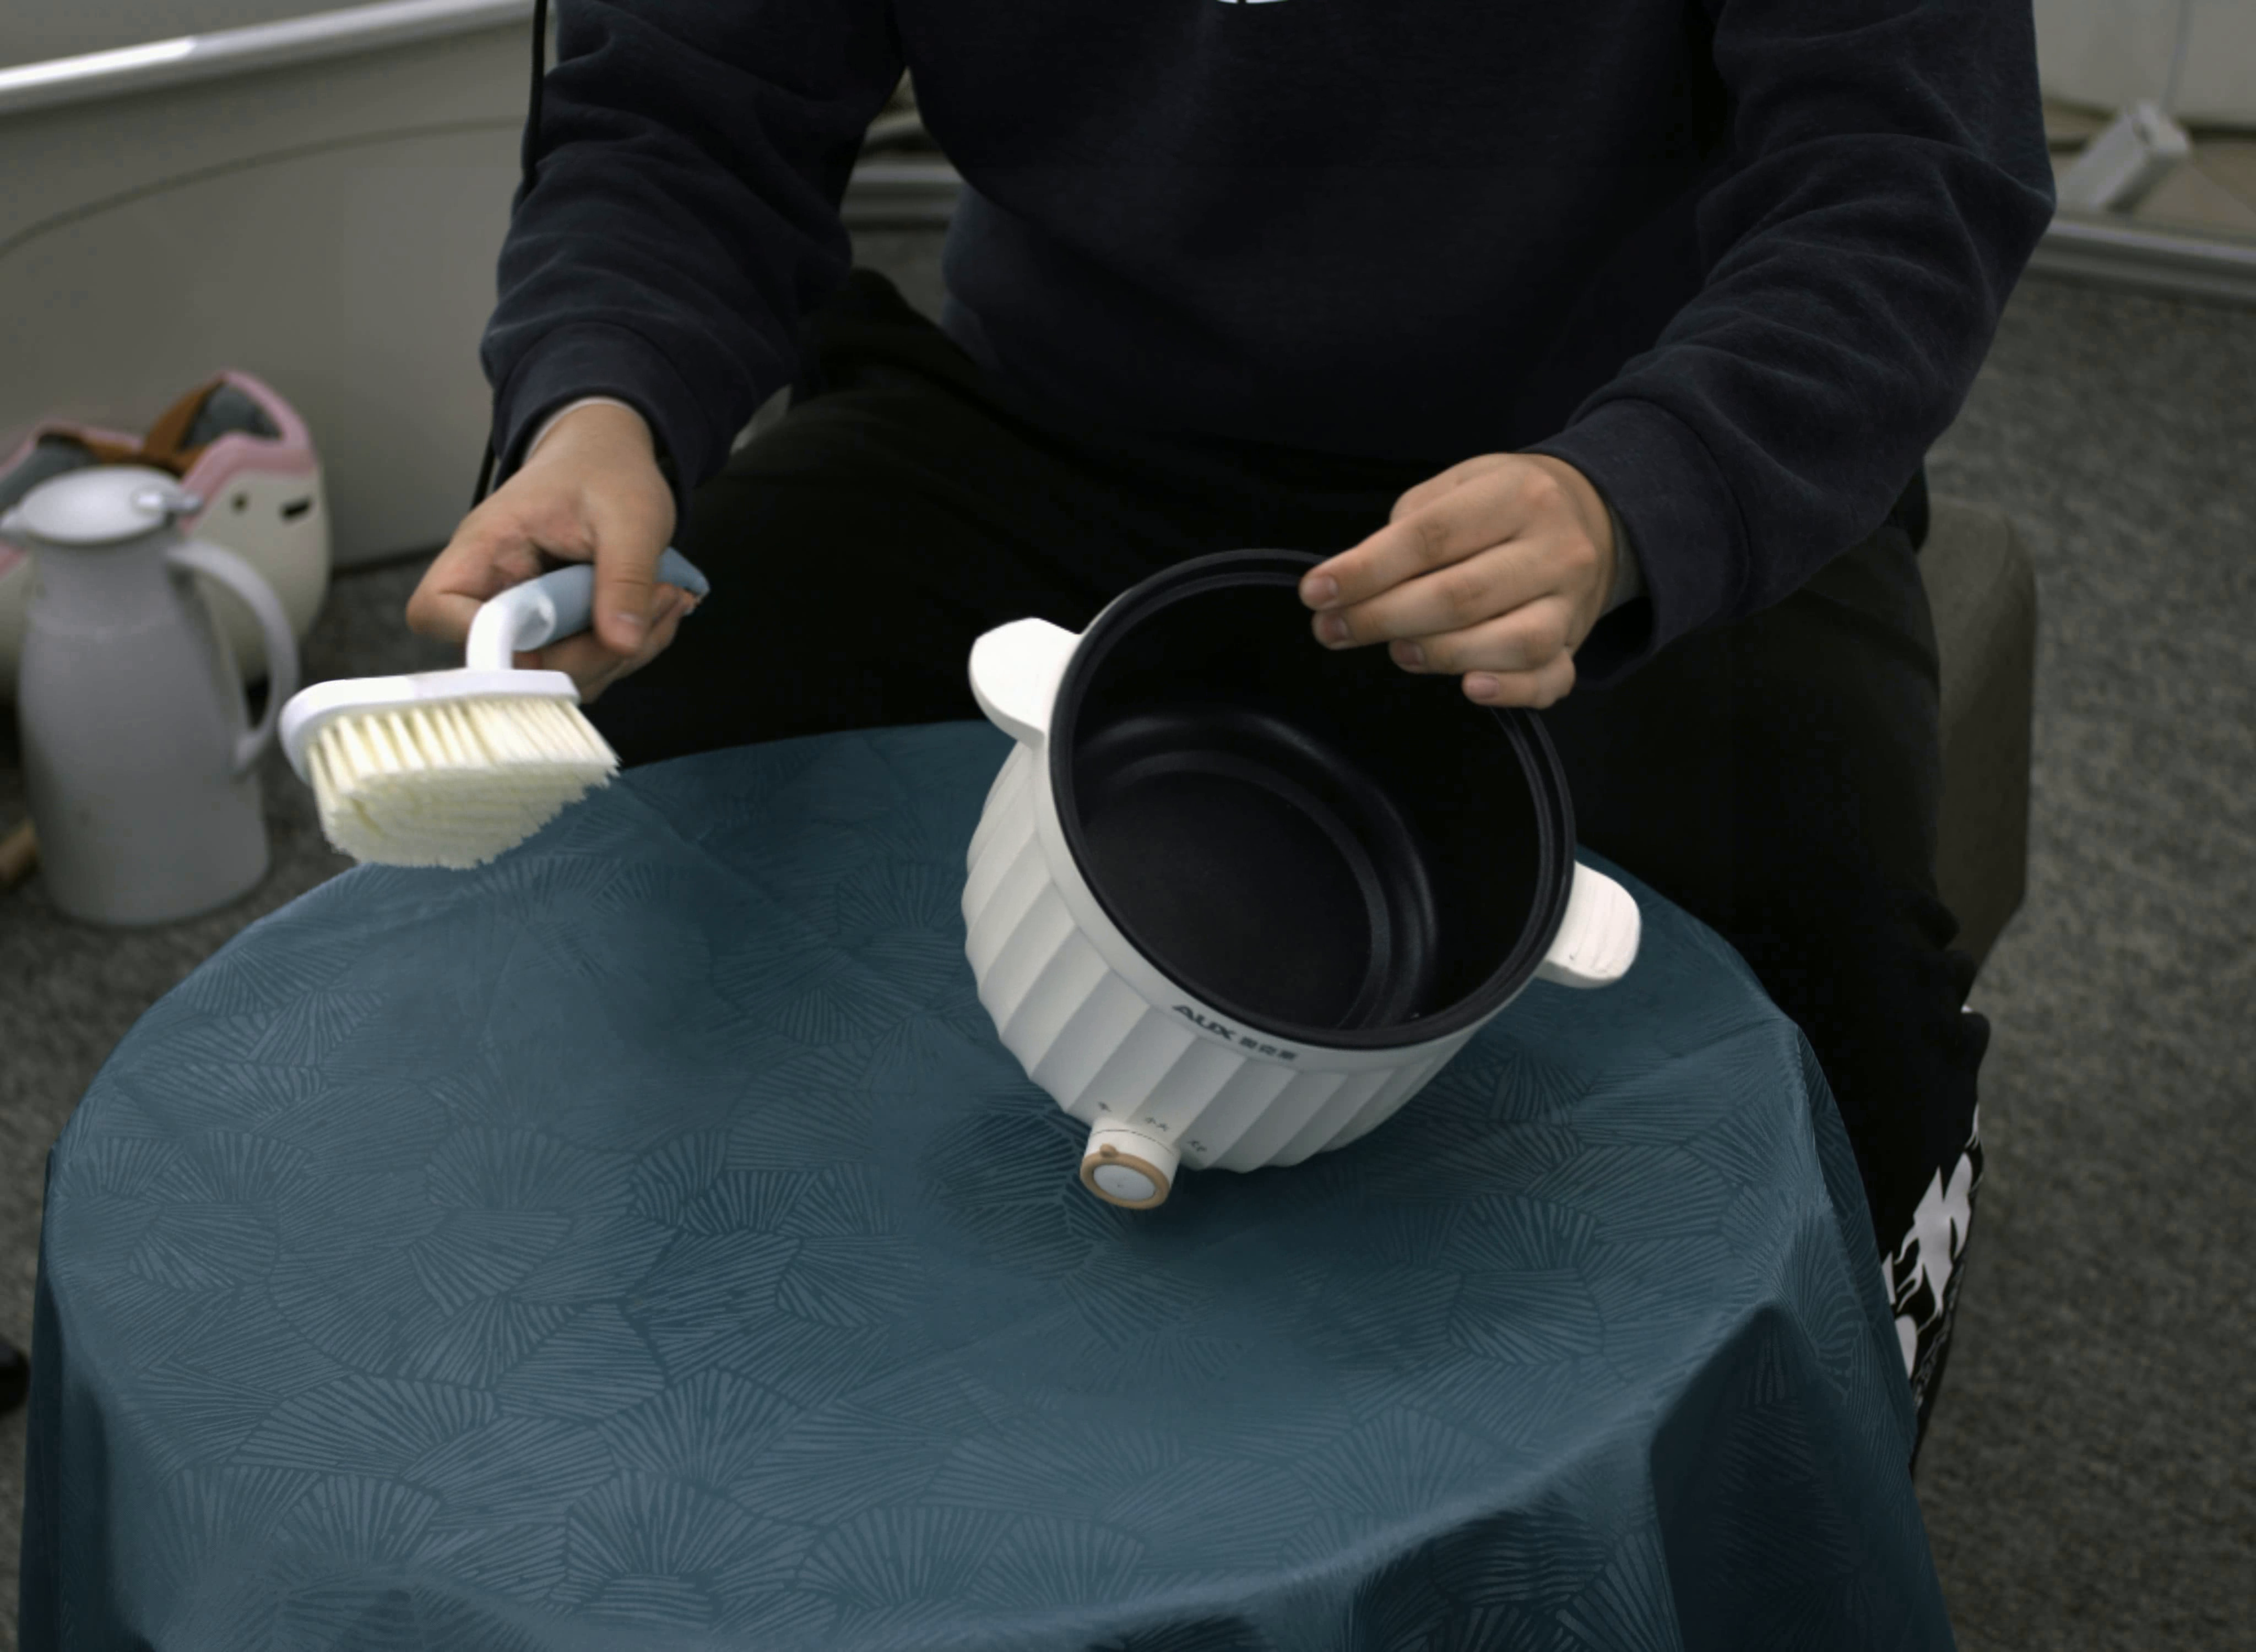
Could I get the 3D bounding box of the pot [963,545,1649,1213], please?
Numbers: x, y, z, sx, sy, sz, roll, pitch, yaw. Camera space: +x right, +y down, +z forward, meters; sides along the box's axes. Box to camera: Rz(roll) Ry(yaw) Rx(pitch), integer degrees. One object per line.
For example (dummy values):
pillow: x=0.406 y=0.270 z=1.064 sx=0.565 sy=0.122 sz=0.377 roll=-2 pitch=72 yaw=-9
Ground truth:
pot: x=0.039 y=0.024 z=1.855 sx=0.239 sy=0.140 sz=0.194 roll=24 pitch=52 yaw=-8

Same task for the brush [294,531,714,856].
brush: x=-0.189 y=-0.040 z=1.938 sx=0.082 sy=0.084 sz=0.328 roll=5 pitch=11 yaw=17
